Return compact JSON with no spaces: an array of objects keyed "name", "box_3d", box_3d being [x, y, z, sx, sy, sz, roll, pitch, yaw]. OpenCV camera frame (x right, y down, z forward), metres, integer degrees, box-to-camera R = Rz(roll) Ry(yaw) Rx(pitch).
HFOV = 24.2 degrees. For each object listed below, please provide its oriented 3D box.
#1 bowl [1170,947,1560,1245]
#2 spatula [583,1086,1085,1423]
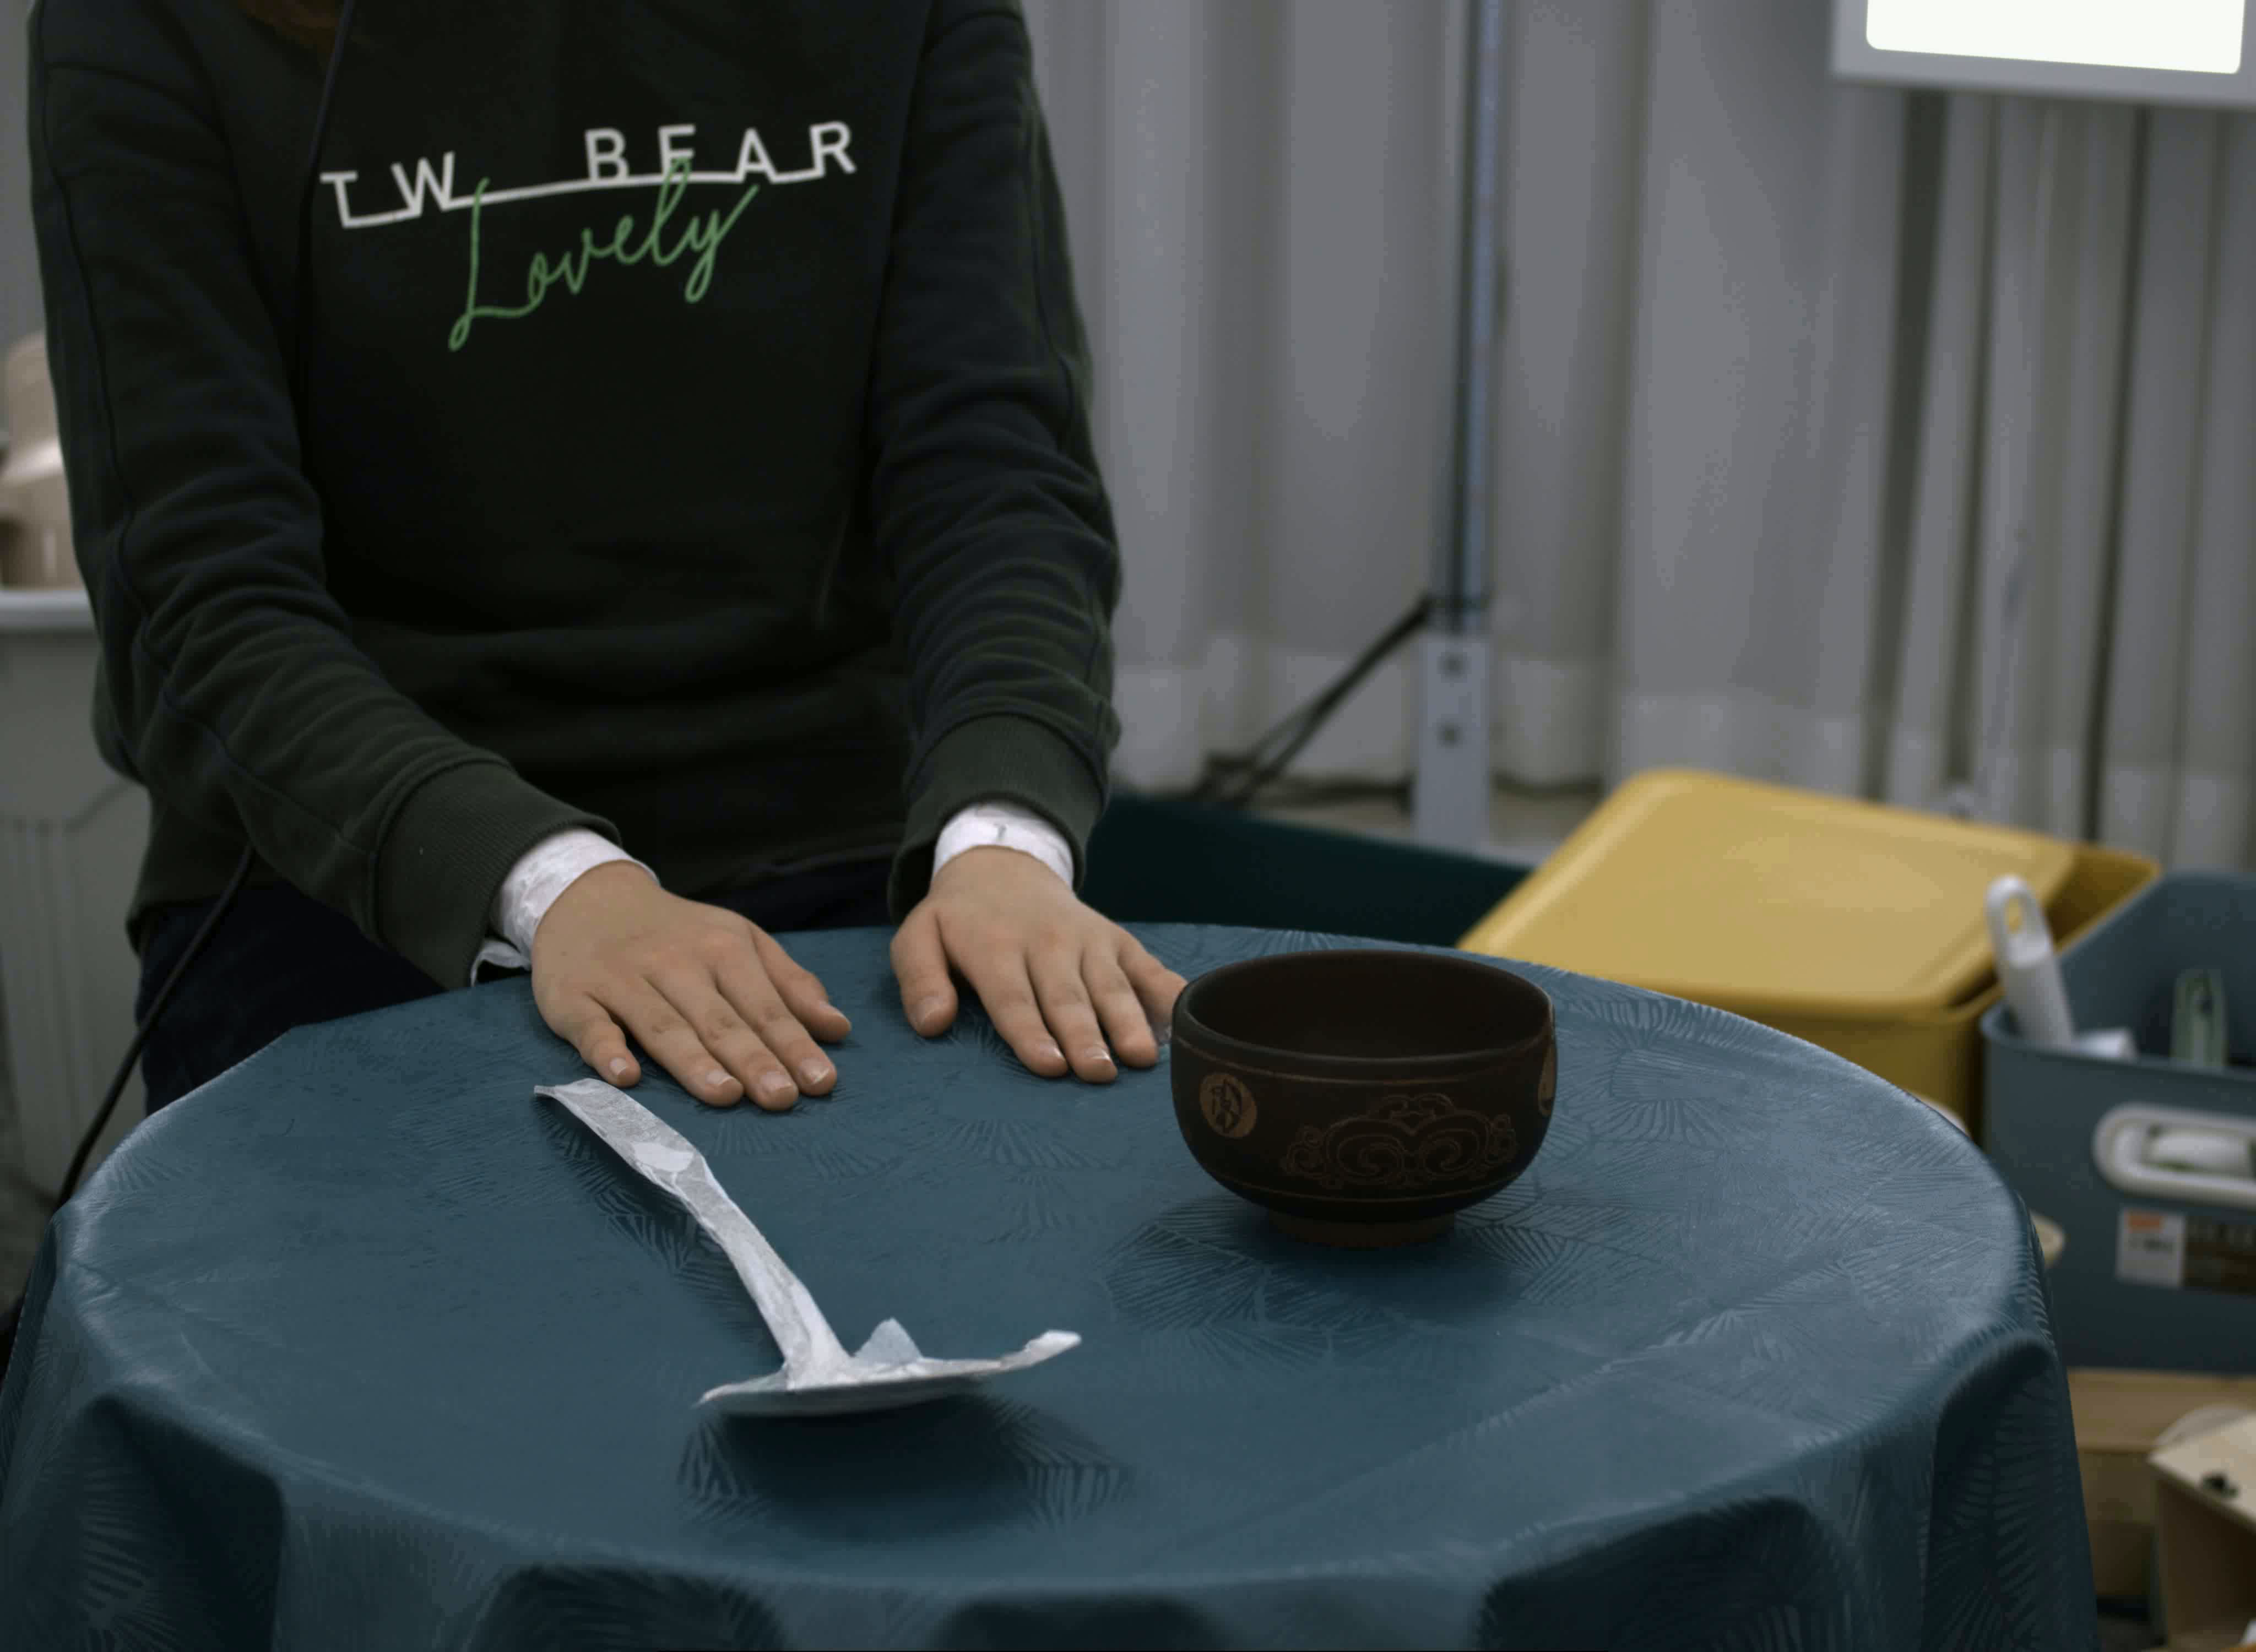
[{"name":"bowl","box_3d":[0.071,0.085,1.595,0.117,0.070,0.117,2,15,0]},{"name":"spatula","box_3d":[-0.111,0.116,1.540,0.099,0.045,0.361,-7,18,-19]}]
